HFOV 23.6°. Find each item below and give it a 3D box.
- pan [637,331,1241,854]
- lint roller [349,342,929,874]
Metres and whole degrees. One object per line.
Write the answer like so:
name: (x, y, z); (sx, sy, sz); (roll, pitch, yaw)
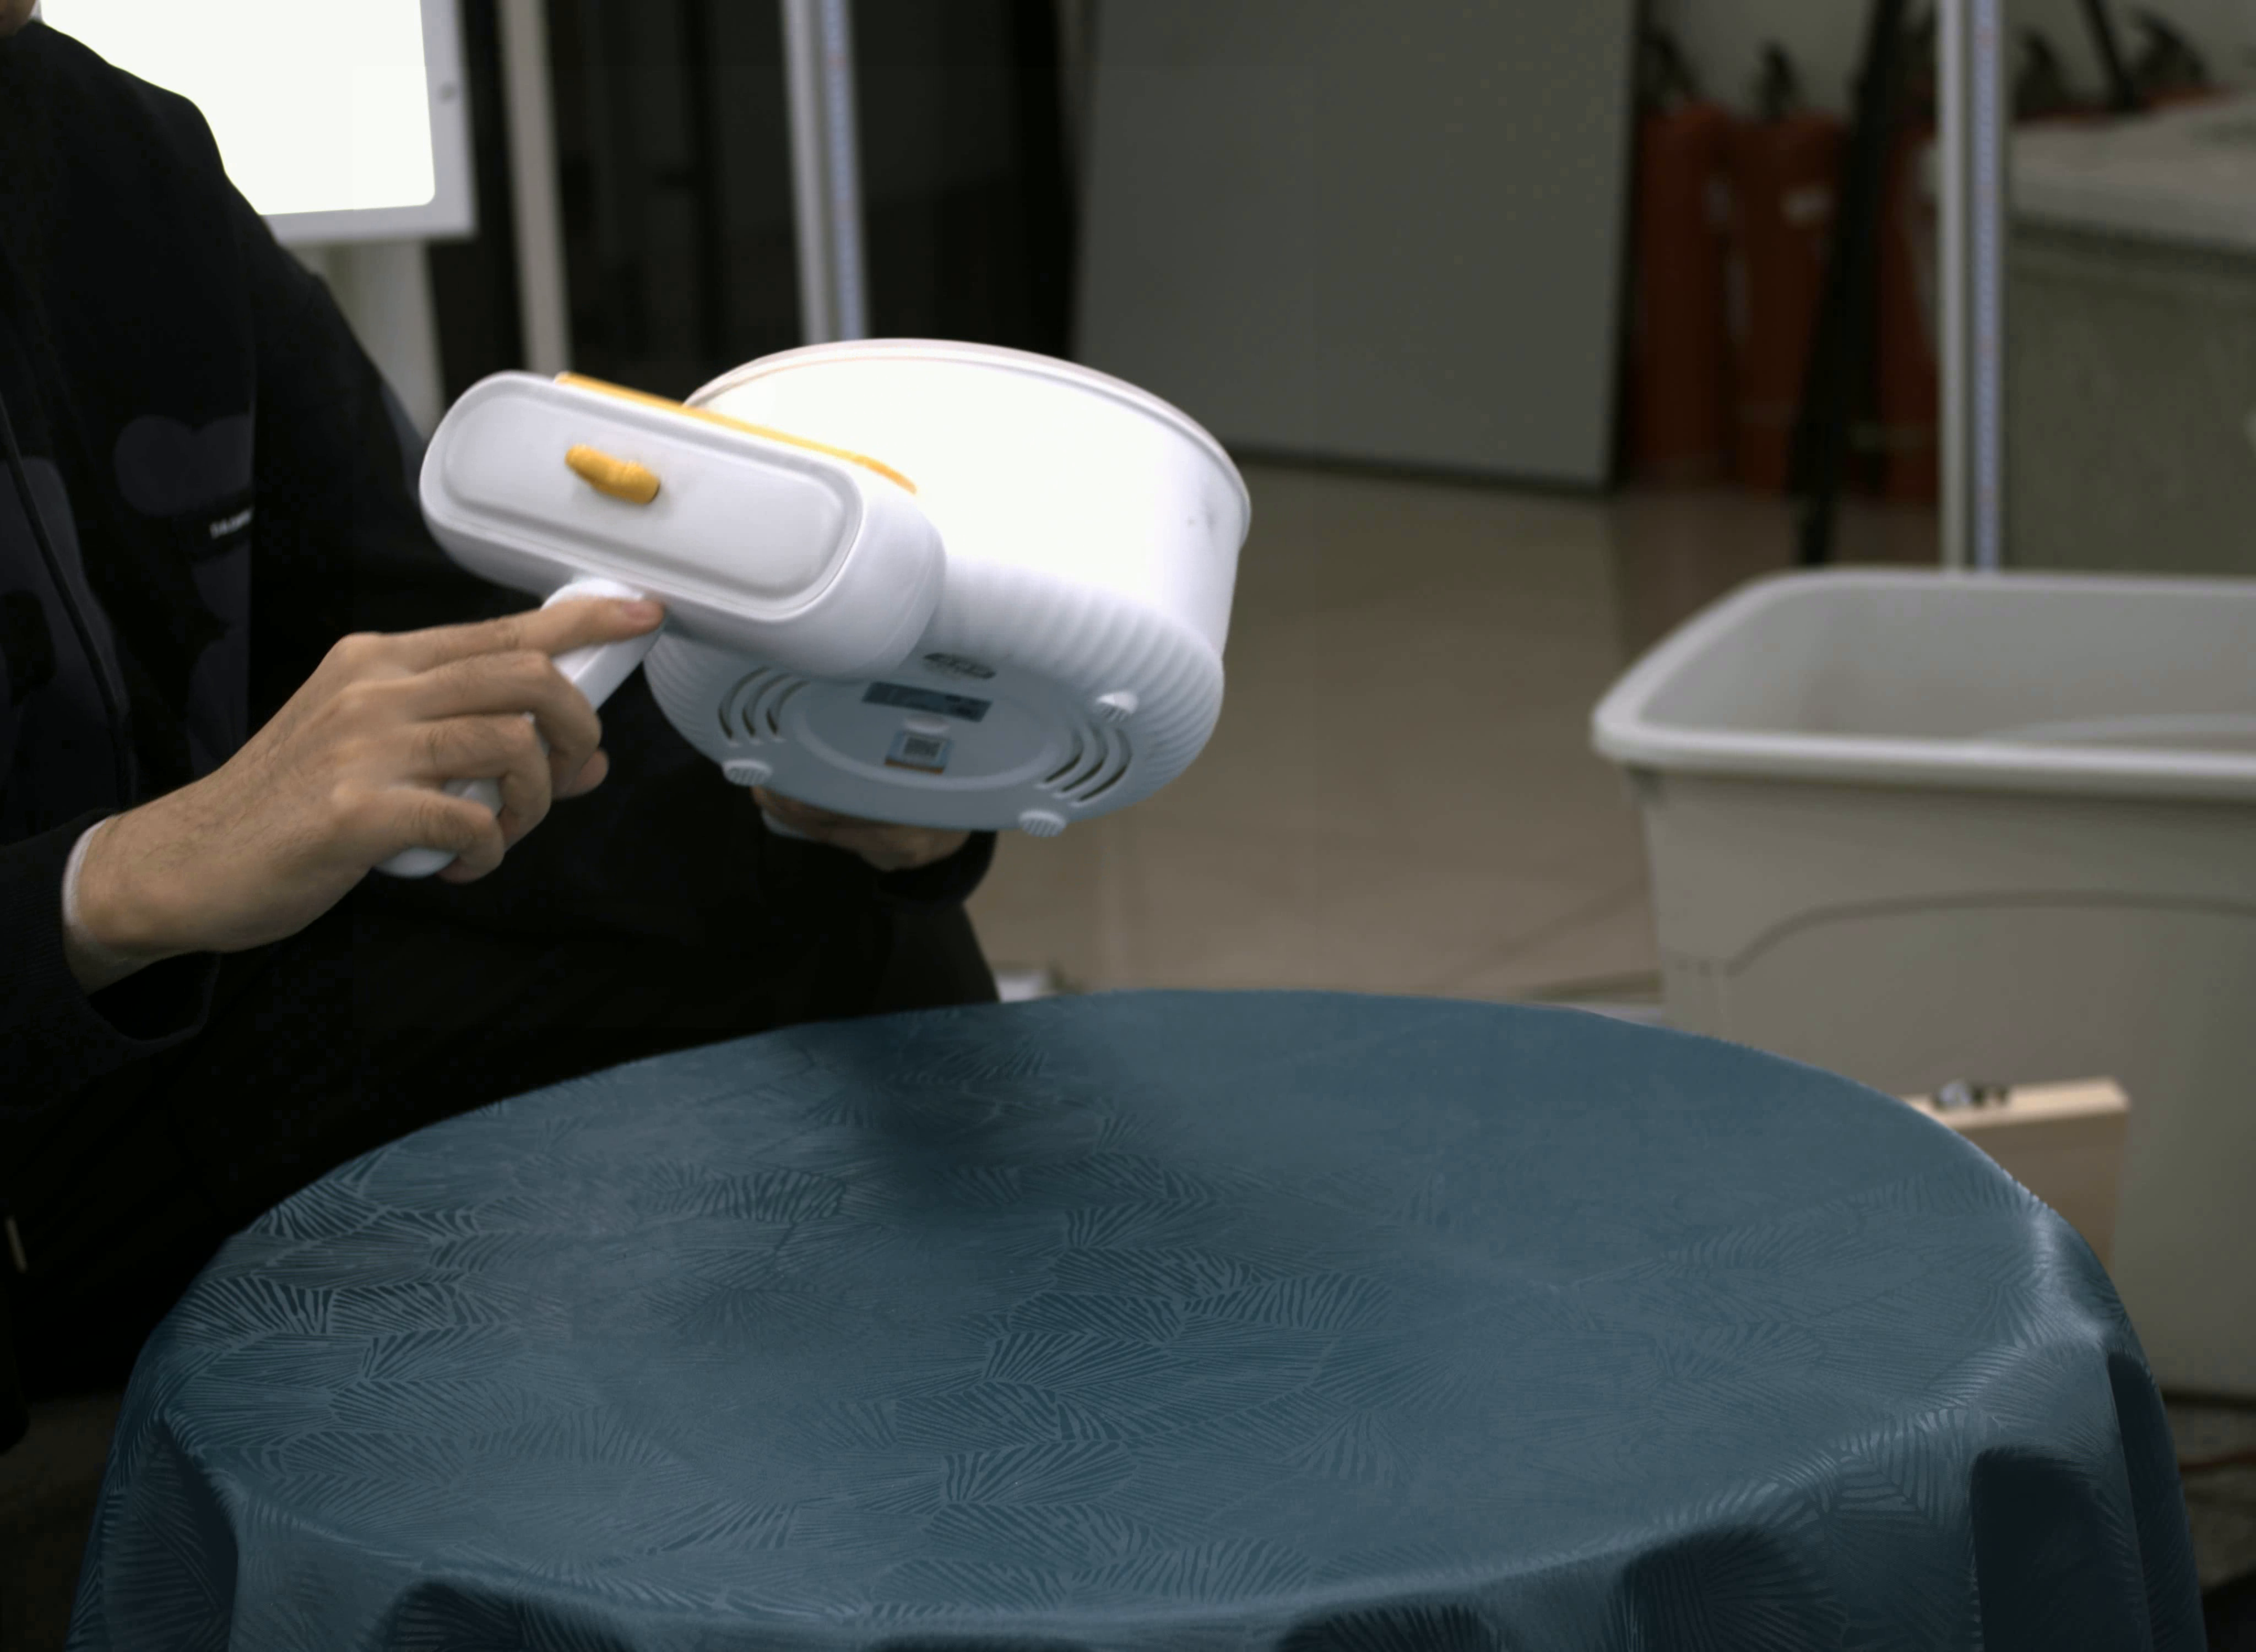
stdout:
pan: (-0.081, -0.042, 1.859); (0.198, 0.103, 0.357); (9, -24, -9)
lint roller: (-0.175, -0.058, 1.675); (0.194, 0.073, 0.193); (15, 66, 30)
